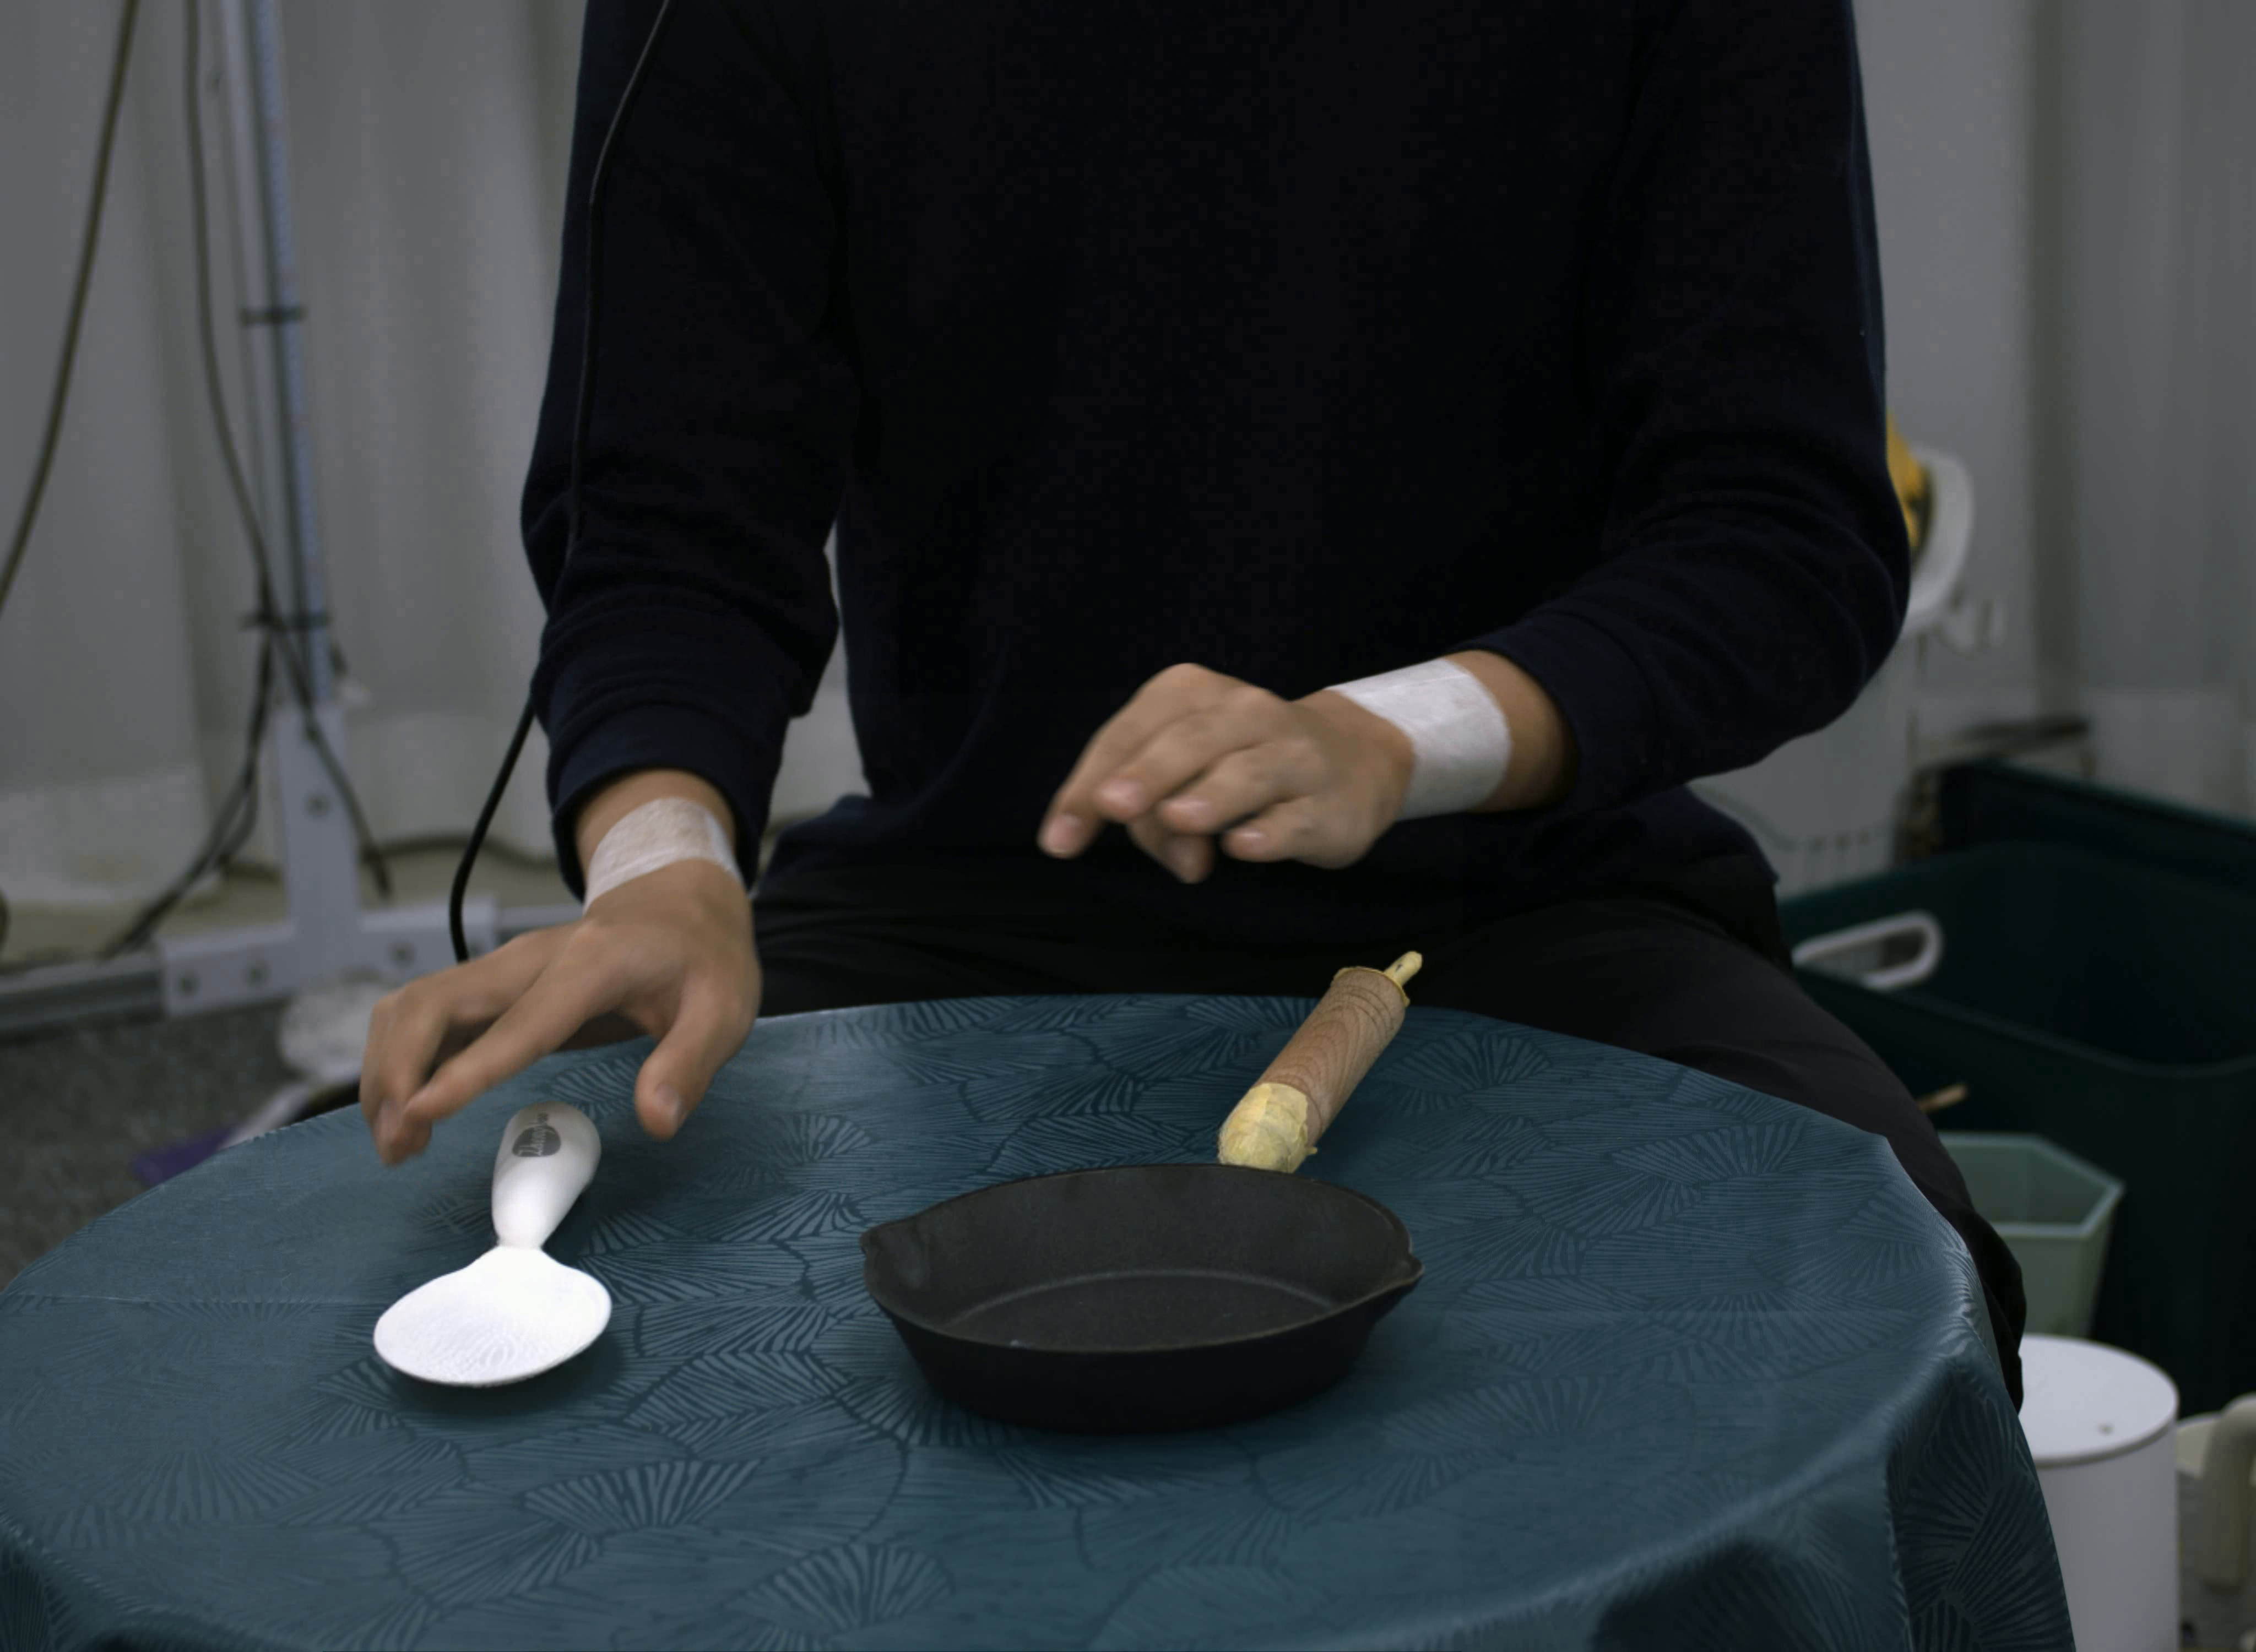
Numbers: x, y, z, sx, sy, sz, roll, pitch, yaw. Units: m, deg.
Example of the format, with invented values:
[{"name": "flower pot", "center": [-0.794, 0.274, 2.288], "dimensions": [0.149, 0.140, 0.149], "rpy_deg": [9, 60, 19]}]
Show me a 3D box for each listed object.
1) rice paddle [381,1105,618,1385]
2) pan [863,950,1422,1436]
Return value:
[{"name": "rice paddle", "center": [-0.183, 0.128, 1.646], "dimensions": [0.068, 0.029, 0.206], "rpy_deg": [-4, 15, 1]}, {"name": "pan", "center": [0.034, 0.107, 1.641], "dimensions": [0.169, 0.049, 0.325], "rpy_deg": [3, 18, 22]}]
